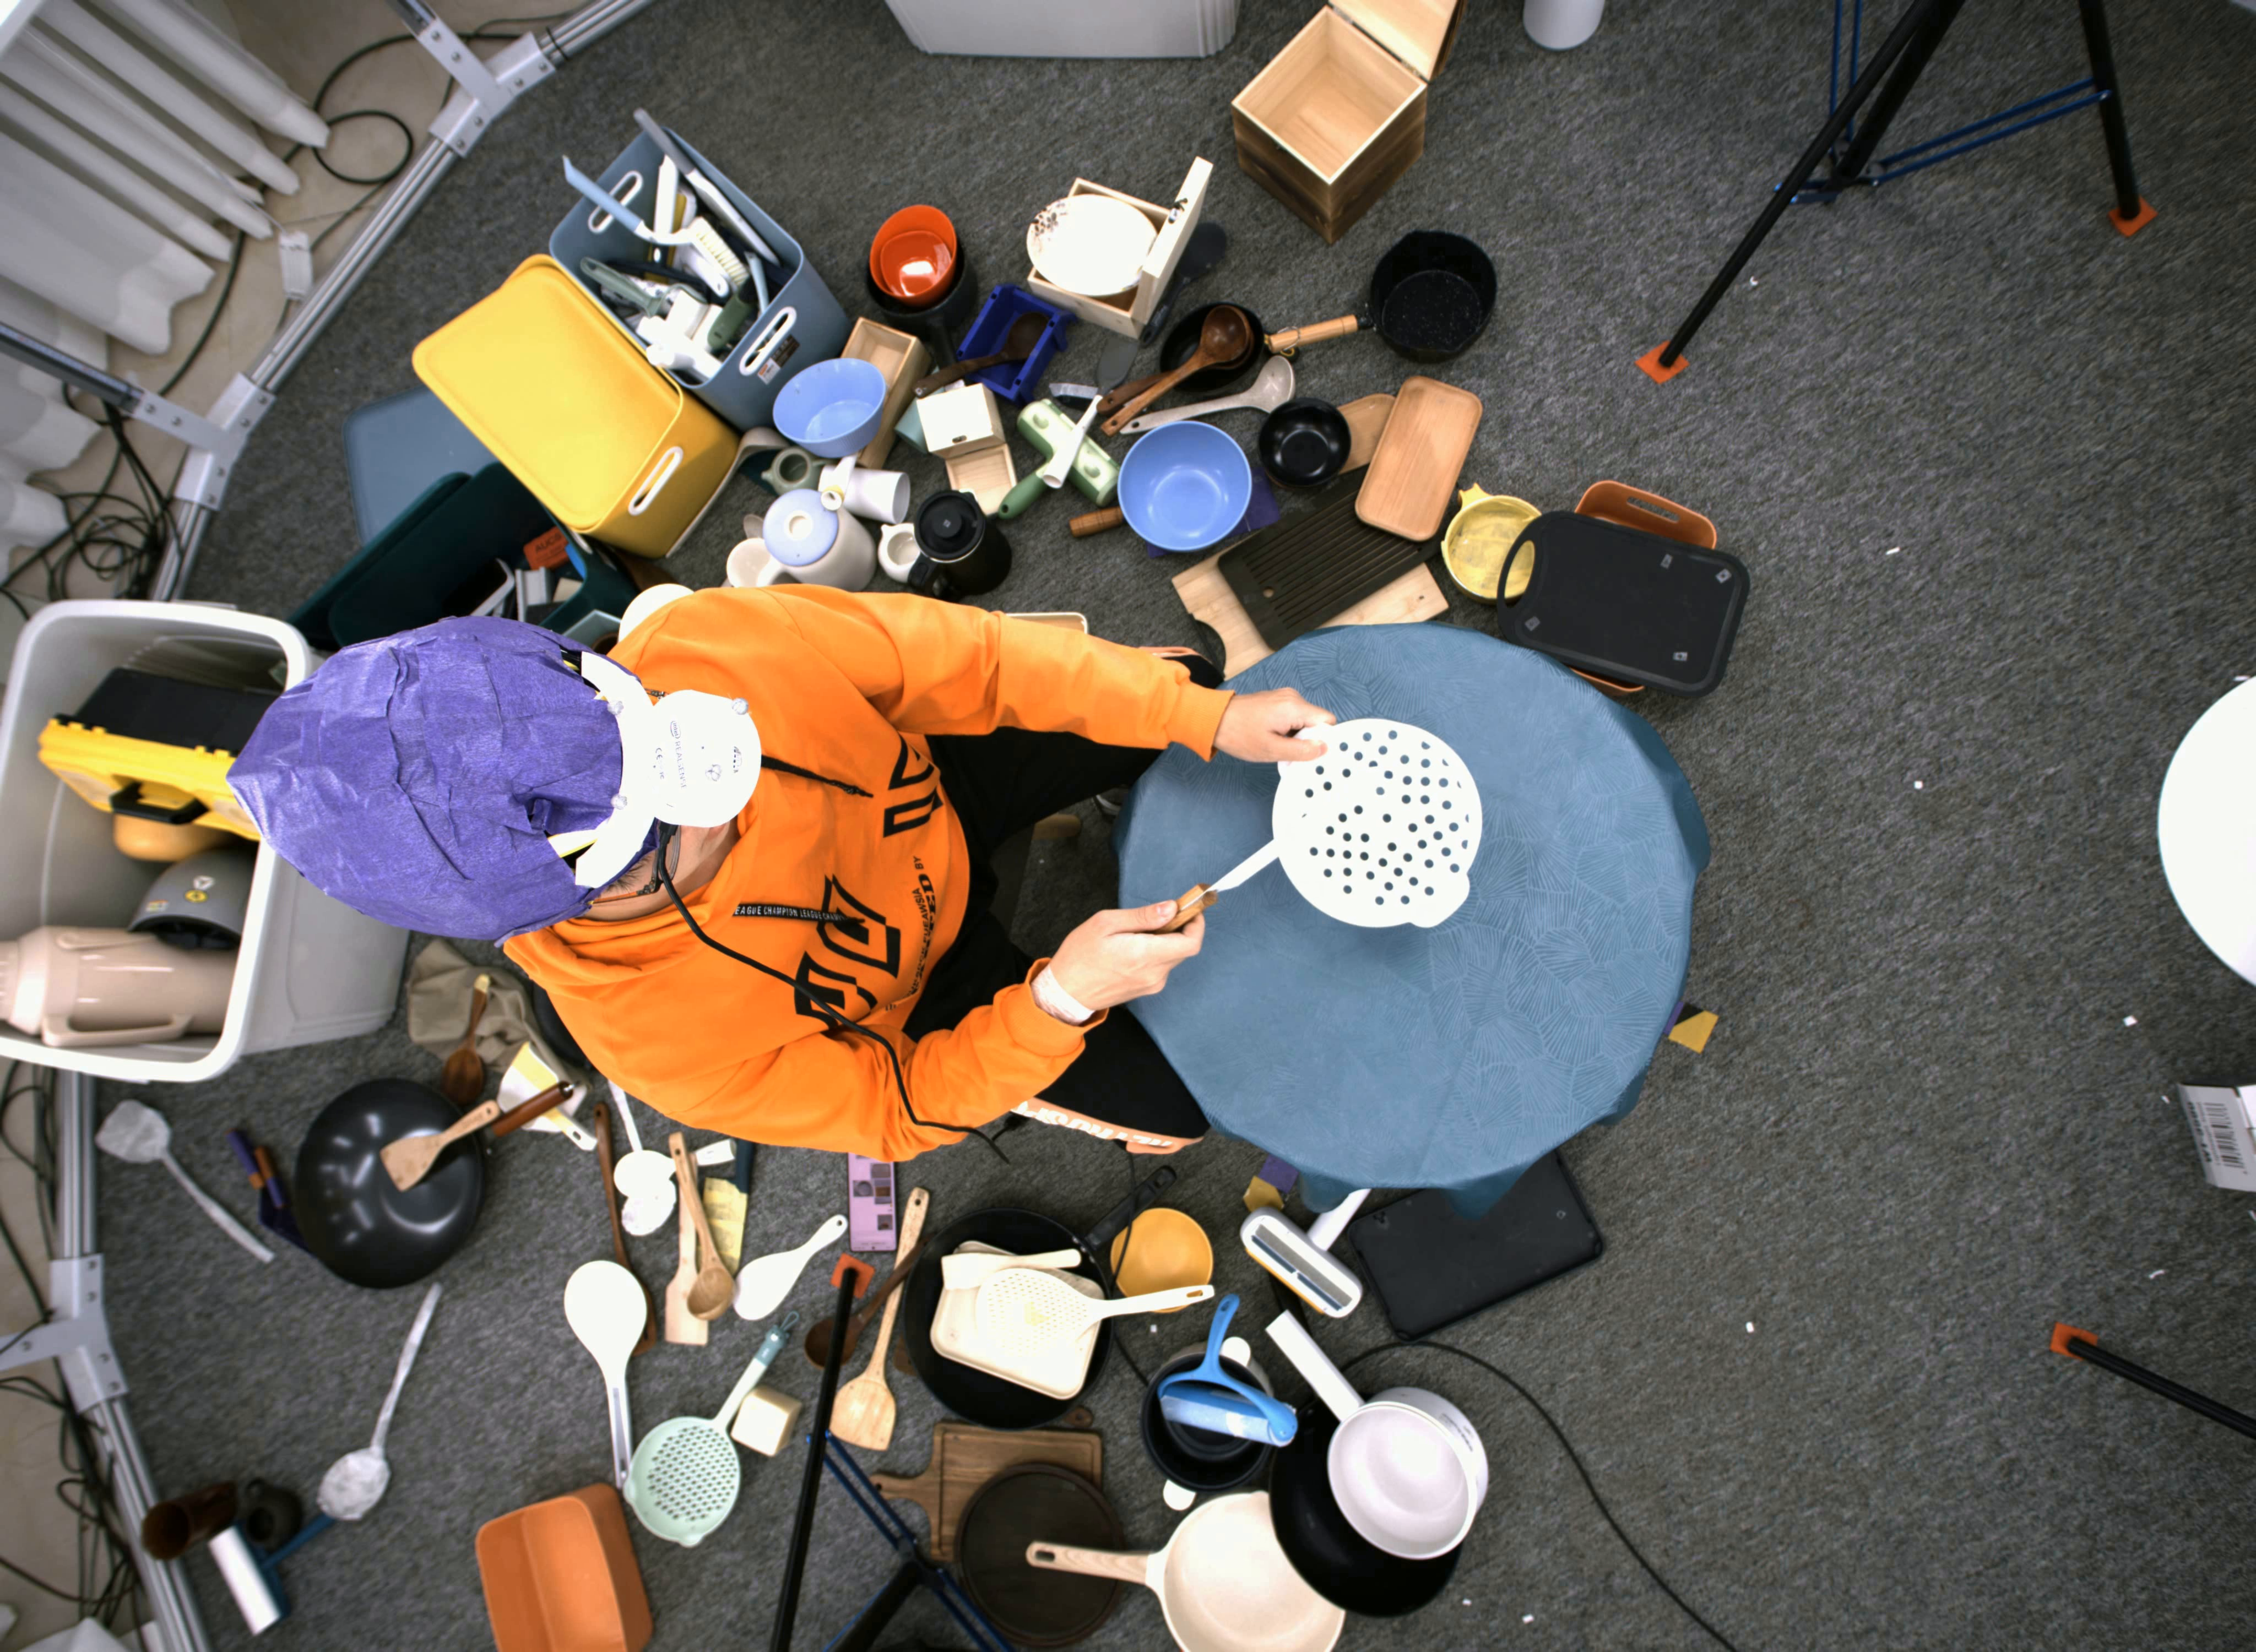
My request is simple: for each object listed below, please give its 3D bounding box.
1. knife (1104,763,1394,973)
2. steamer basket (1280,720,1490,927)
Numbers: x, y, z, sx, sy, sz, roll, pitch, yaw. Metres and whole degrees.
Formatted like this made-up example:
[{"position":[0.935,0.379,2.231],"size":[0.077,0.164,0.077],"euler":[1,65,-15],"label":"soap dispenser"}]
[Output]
[{"position":[0.105,0.036,1.201],"size":[0.311,0.092,0.021],"euler":[-39,77,27],"label":"knife"},{"position":[0.254,-0.005,1.355],"size":[0.229,0.068,0.205],"euler":[47,112,10],"label":"steamer basket"}]
